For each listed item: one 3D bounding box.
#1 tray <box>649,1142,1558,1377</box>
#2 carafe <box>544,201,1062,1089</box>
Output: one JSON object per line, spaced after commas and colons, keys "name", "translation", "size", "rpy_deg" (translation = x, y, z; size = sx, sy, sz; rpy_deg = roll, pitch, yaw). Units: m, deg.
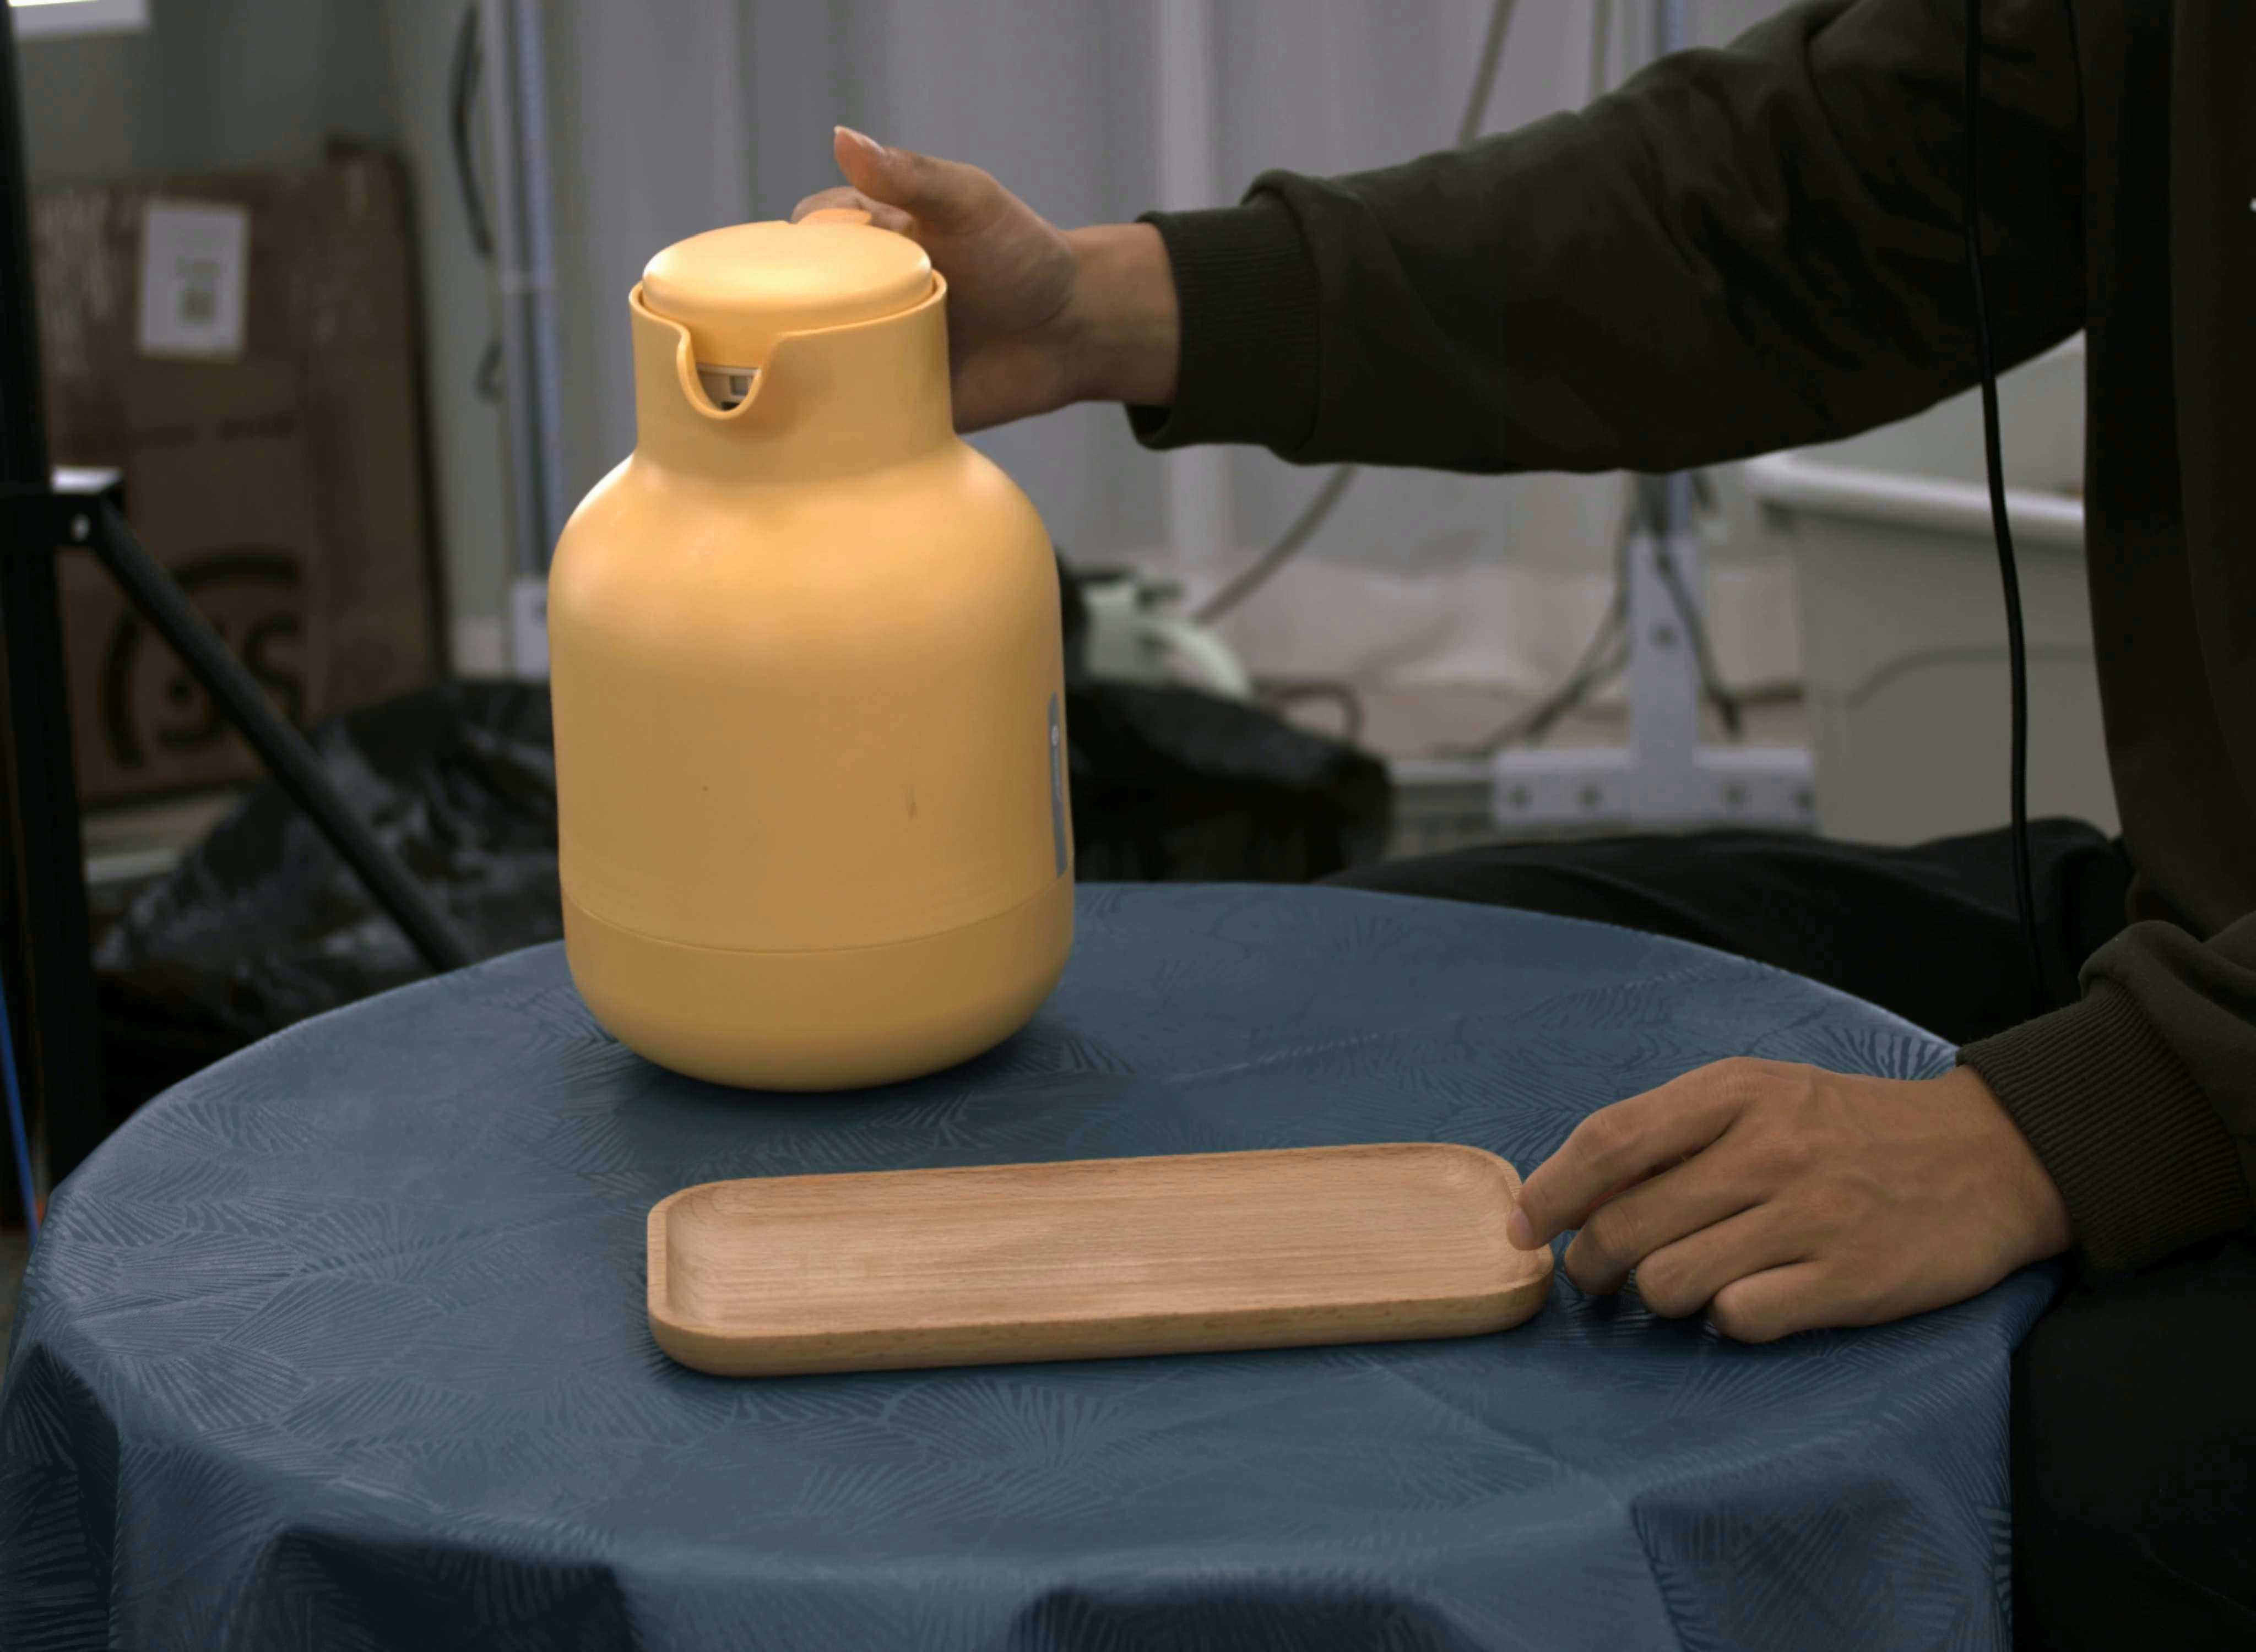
{"name": "tray", "translation": [-0.008, 0.121, 1.486], "size": [0.249, 0.023, 0.131], "rpy_deg": [-2, 18, -1]}
{"name": "carafe", "translation": [-0.096, -0.065, 1.688], "size": [0.165, 0.260, 0.201], "rpy_deg": [7, 23, 15]}
